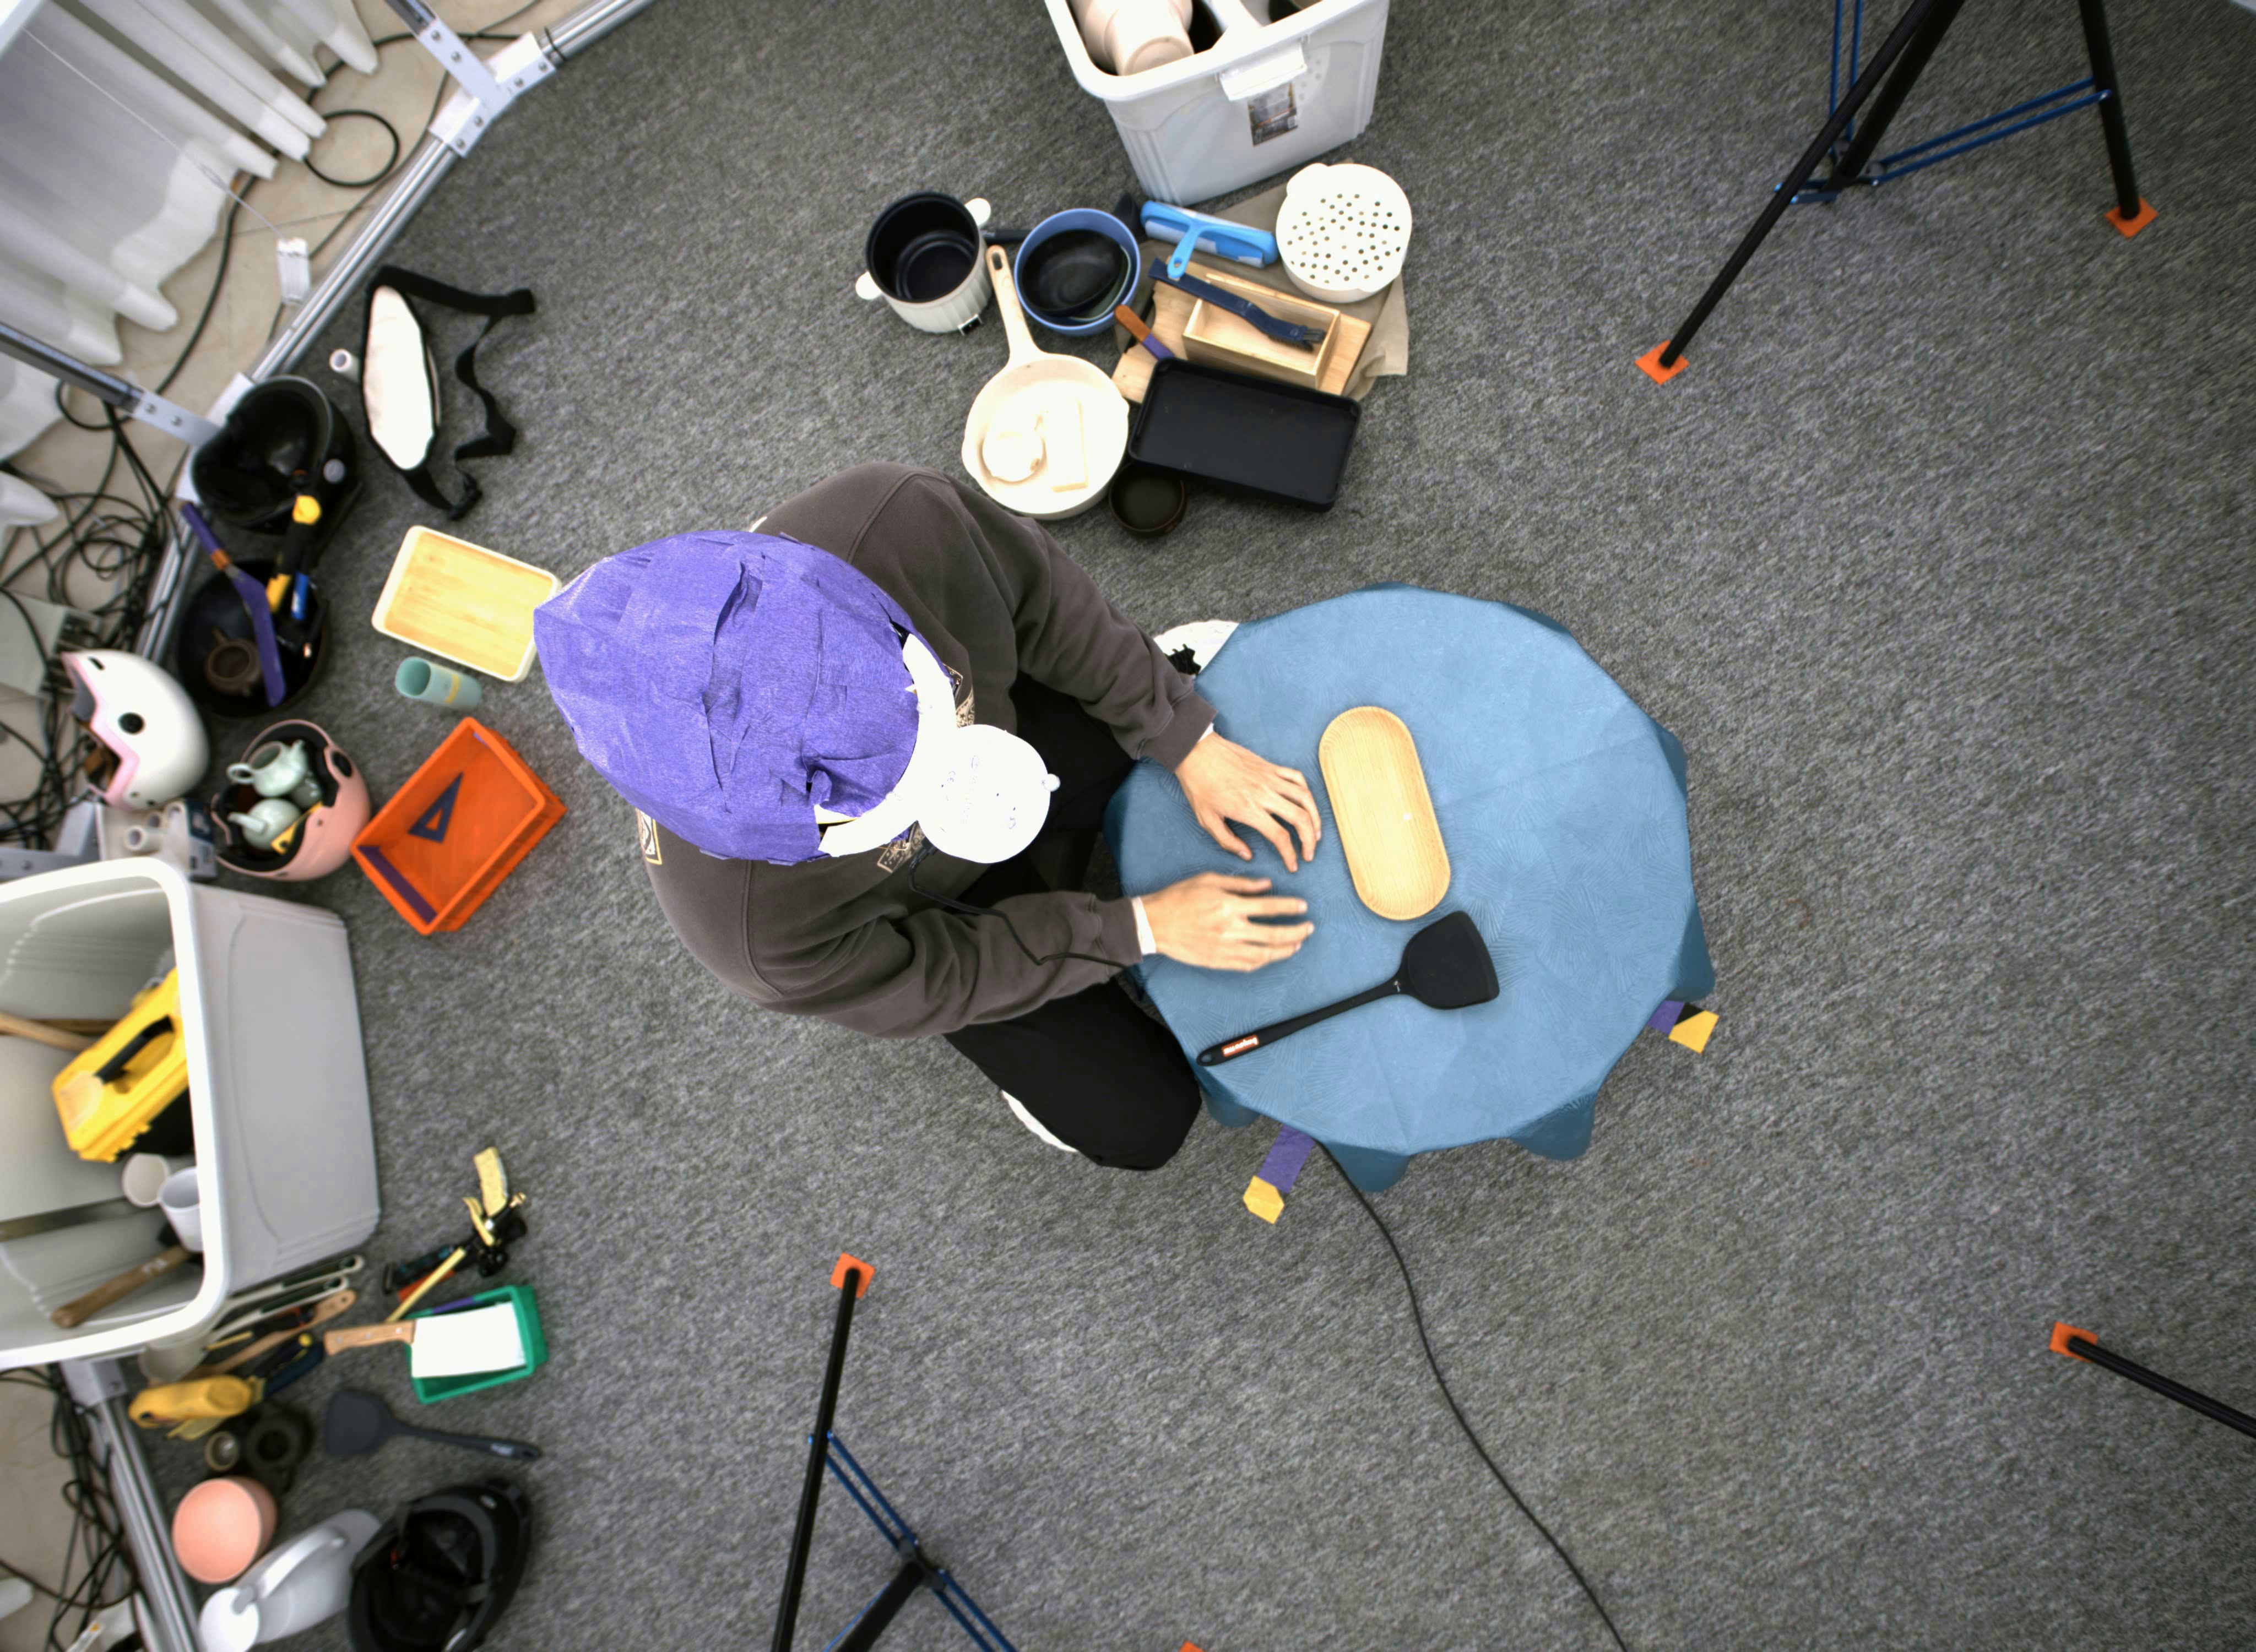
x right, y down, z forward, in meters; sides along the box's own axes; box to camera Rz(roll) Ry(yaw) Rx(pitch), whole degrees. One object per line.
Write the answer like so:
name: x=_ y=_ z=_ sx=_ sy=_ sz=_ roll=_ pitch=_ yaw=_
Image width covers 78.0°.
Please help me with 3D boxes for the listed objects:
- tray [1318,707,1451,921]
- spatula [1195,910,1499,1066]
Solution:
tray: x=0.270 y=-0.014 z=1.454 sx=0.102 sy=0.020 sz=0.230 roll=-16 pitch=86 yaw=10
spatula: x=0.219 y=0.188 z=1.443 sx=0.328 sy=0.040 sz=0.099 roll=-23 pitch=82 yaw=9
